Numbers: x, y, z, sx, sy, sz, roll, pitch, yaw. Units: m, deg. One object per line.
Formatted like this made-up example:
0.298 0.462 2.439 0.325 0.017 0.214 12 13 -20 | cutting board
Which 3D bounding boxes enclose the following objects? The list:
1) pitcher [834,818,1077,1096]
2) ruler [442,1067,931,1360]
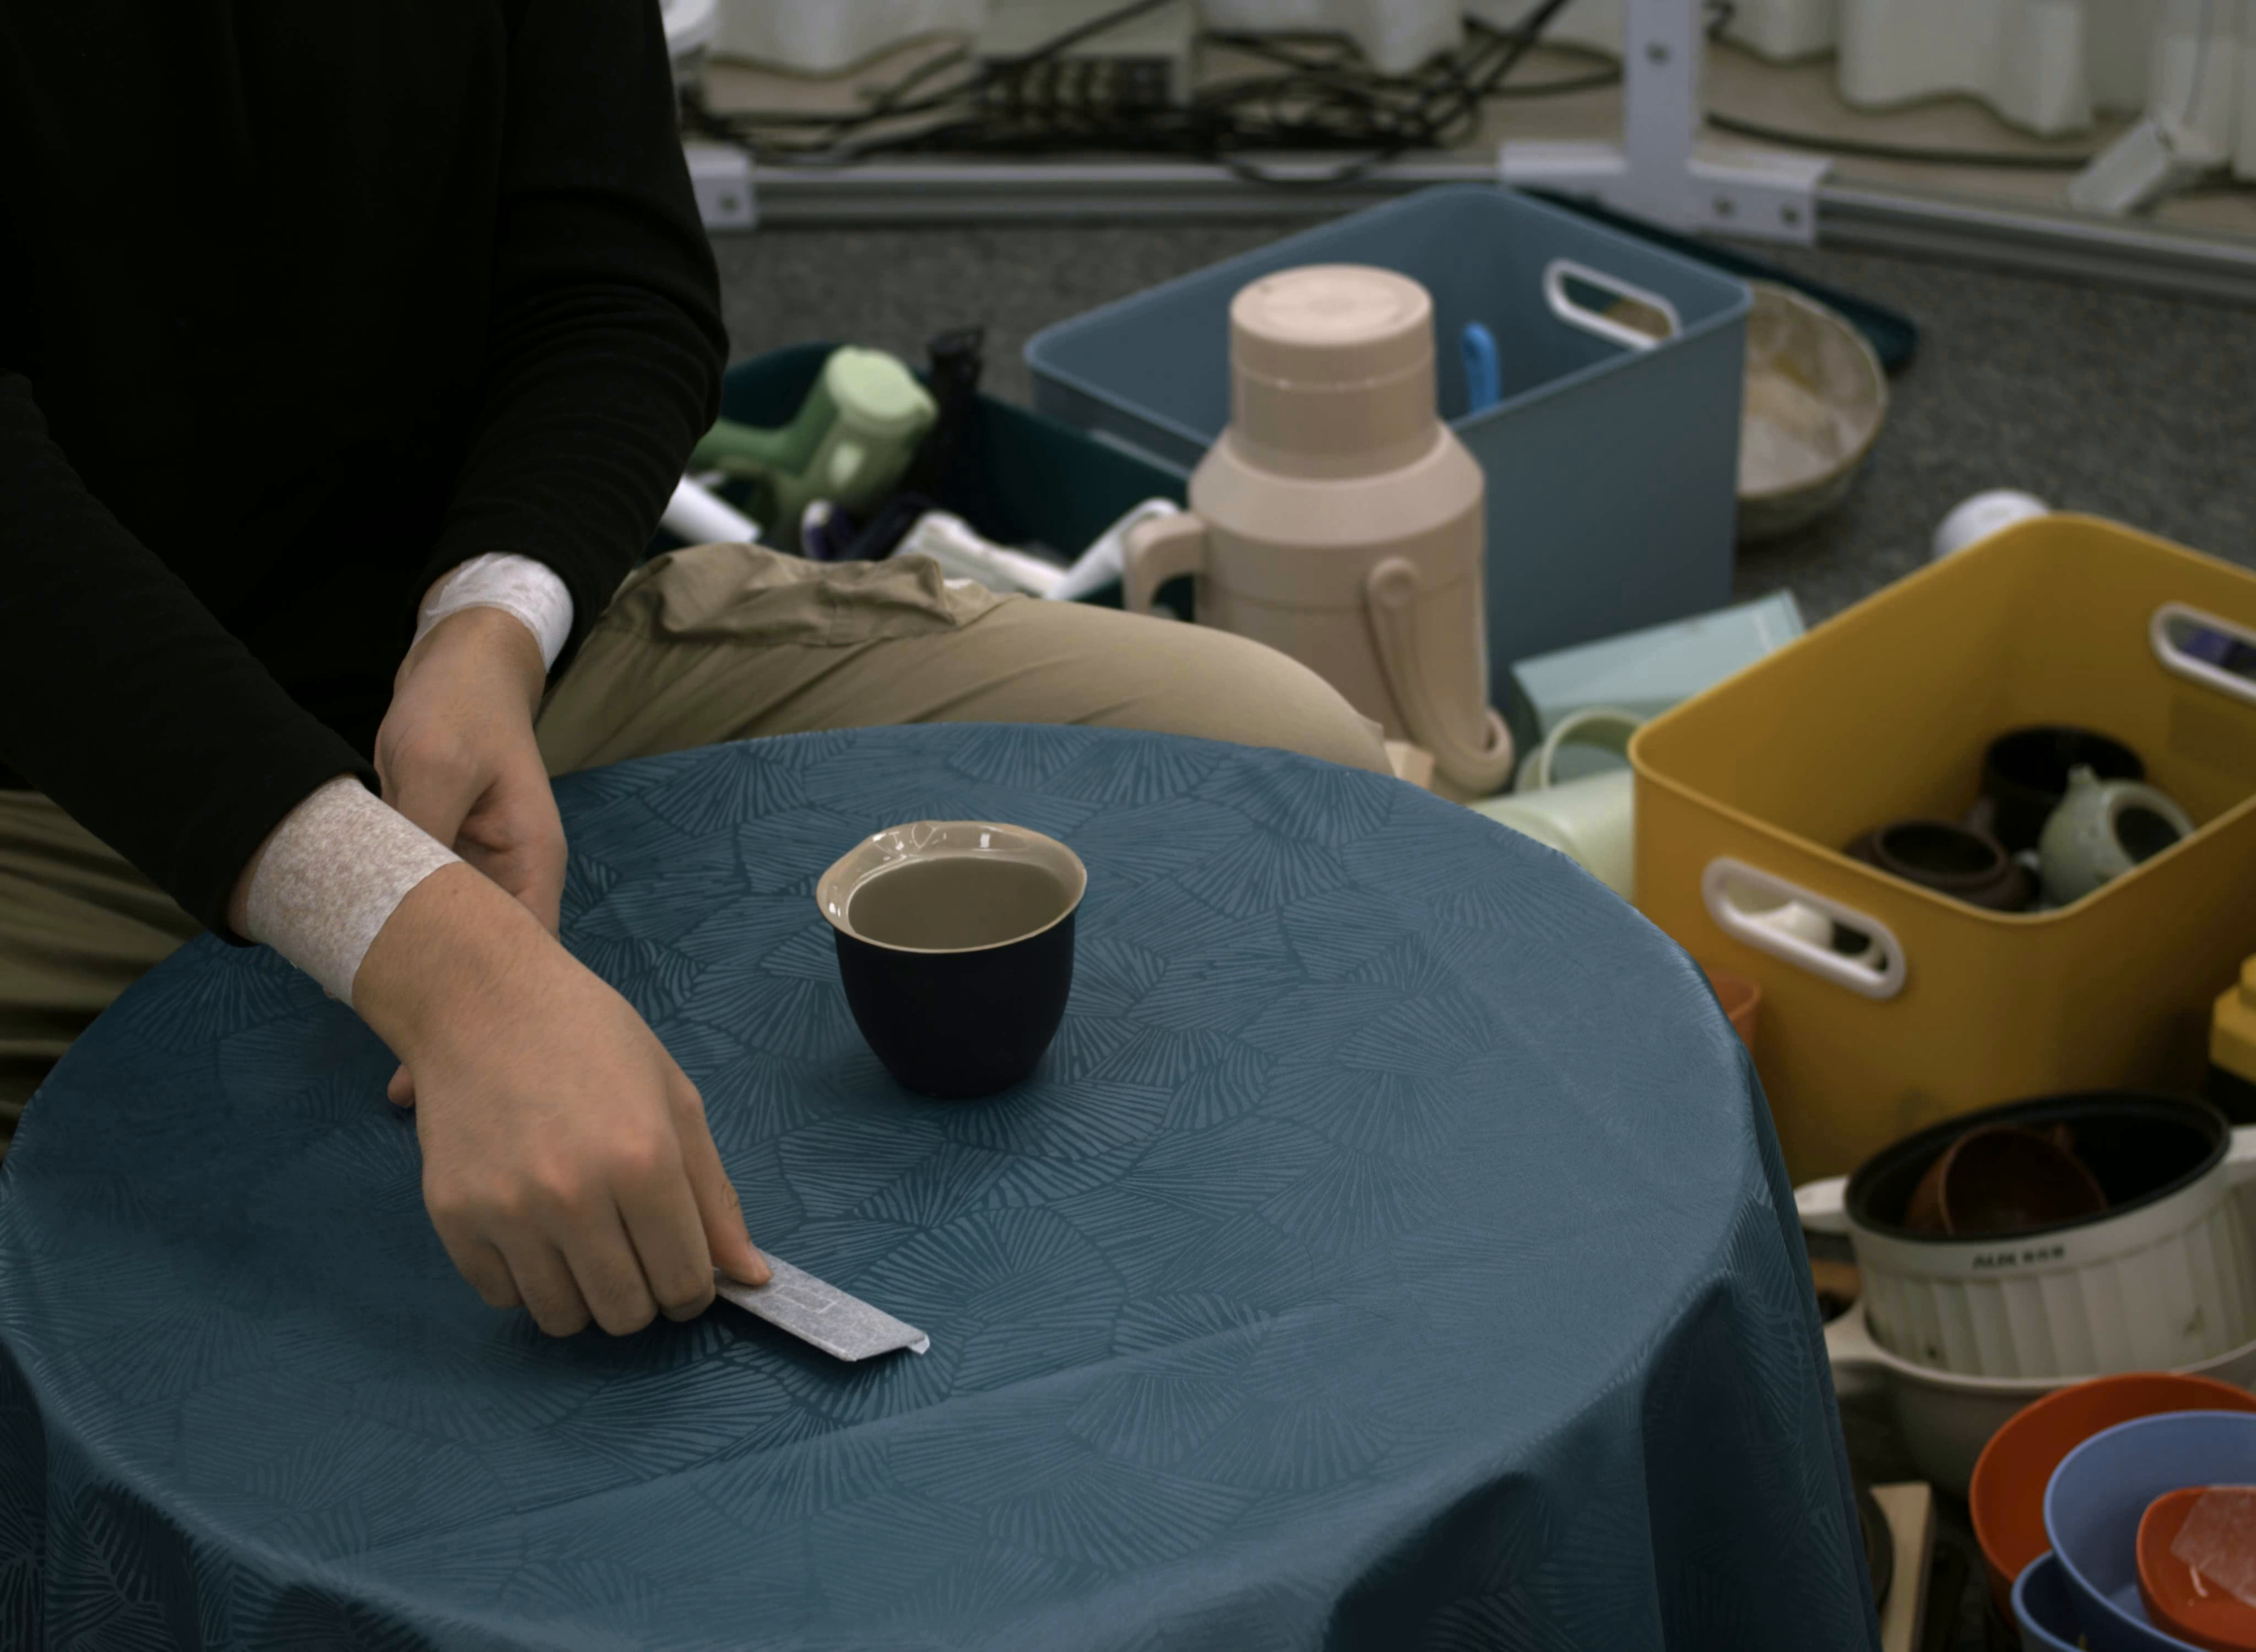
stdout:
-0.060 0.048 1.930 0.084 0.070 0.096 -14 30 -20 | pitcher
-0.150 0.124 1.836 0.038 0.024 0.218 -18 29 -41 | ruler
